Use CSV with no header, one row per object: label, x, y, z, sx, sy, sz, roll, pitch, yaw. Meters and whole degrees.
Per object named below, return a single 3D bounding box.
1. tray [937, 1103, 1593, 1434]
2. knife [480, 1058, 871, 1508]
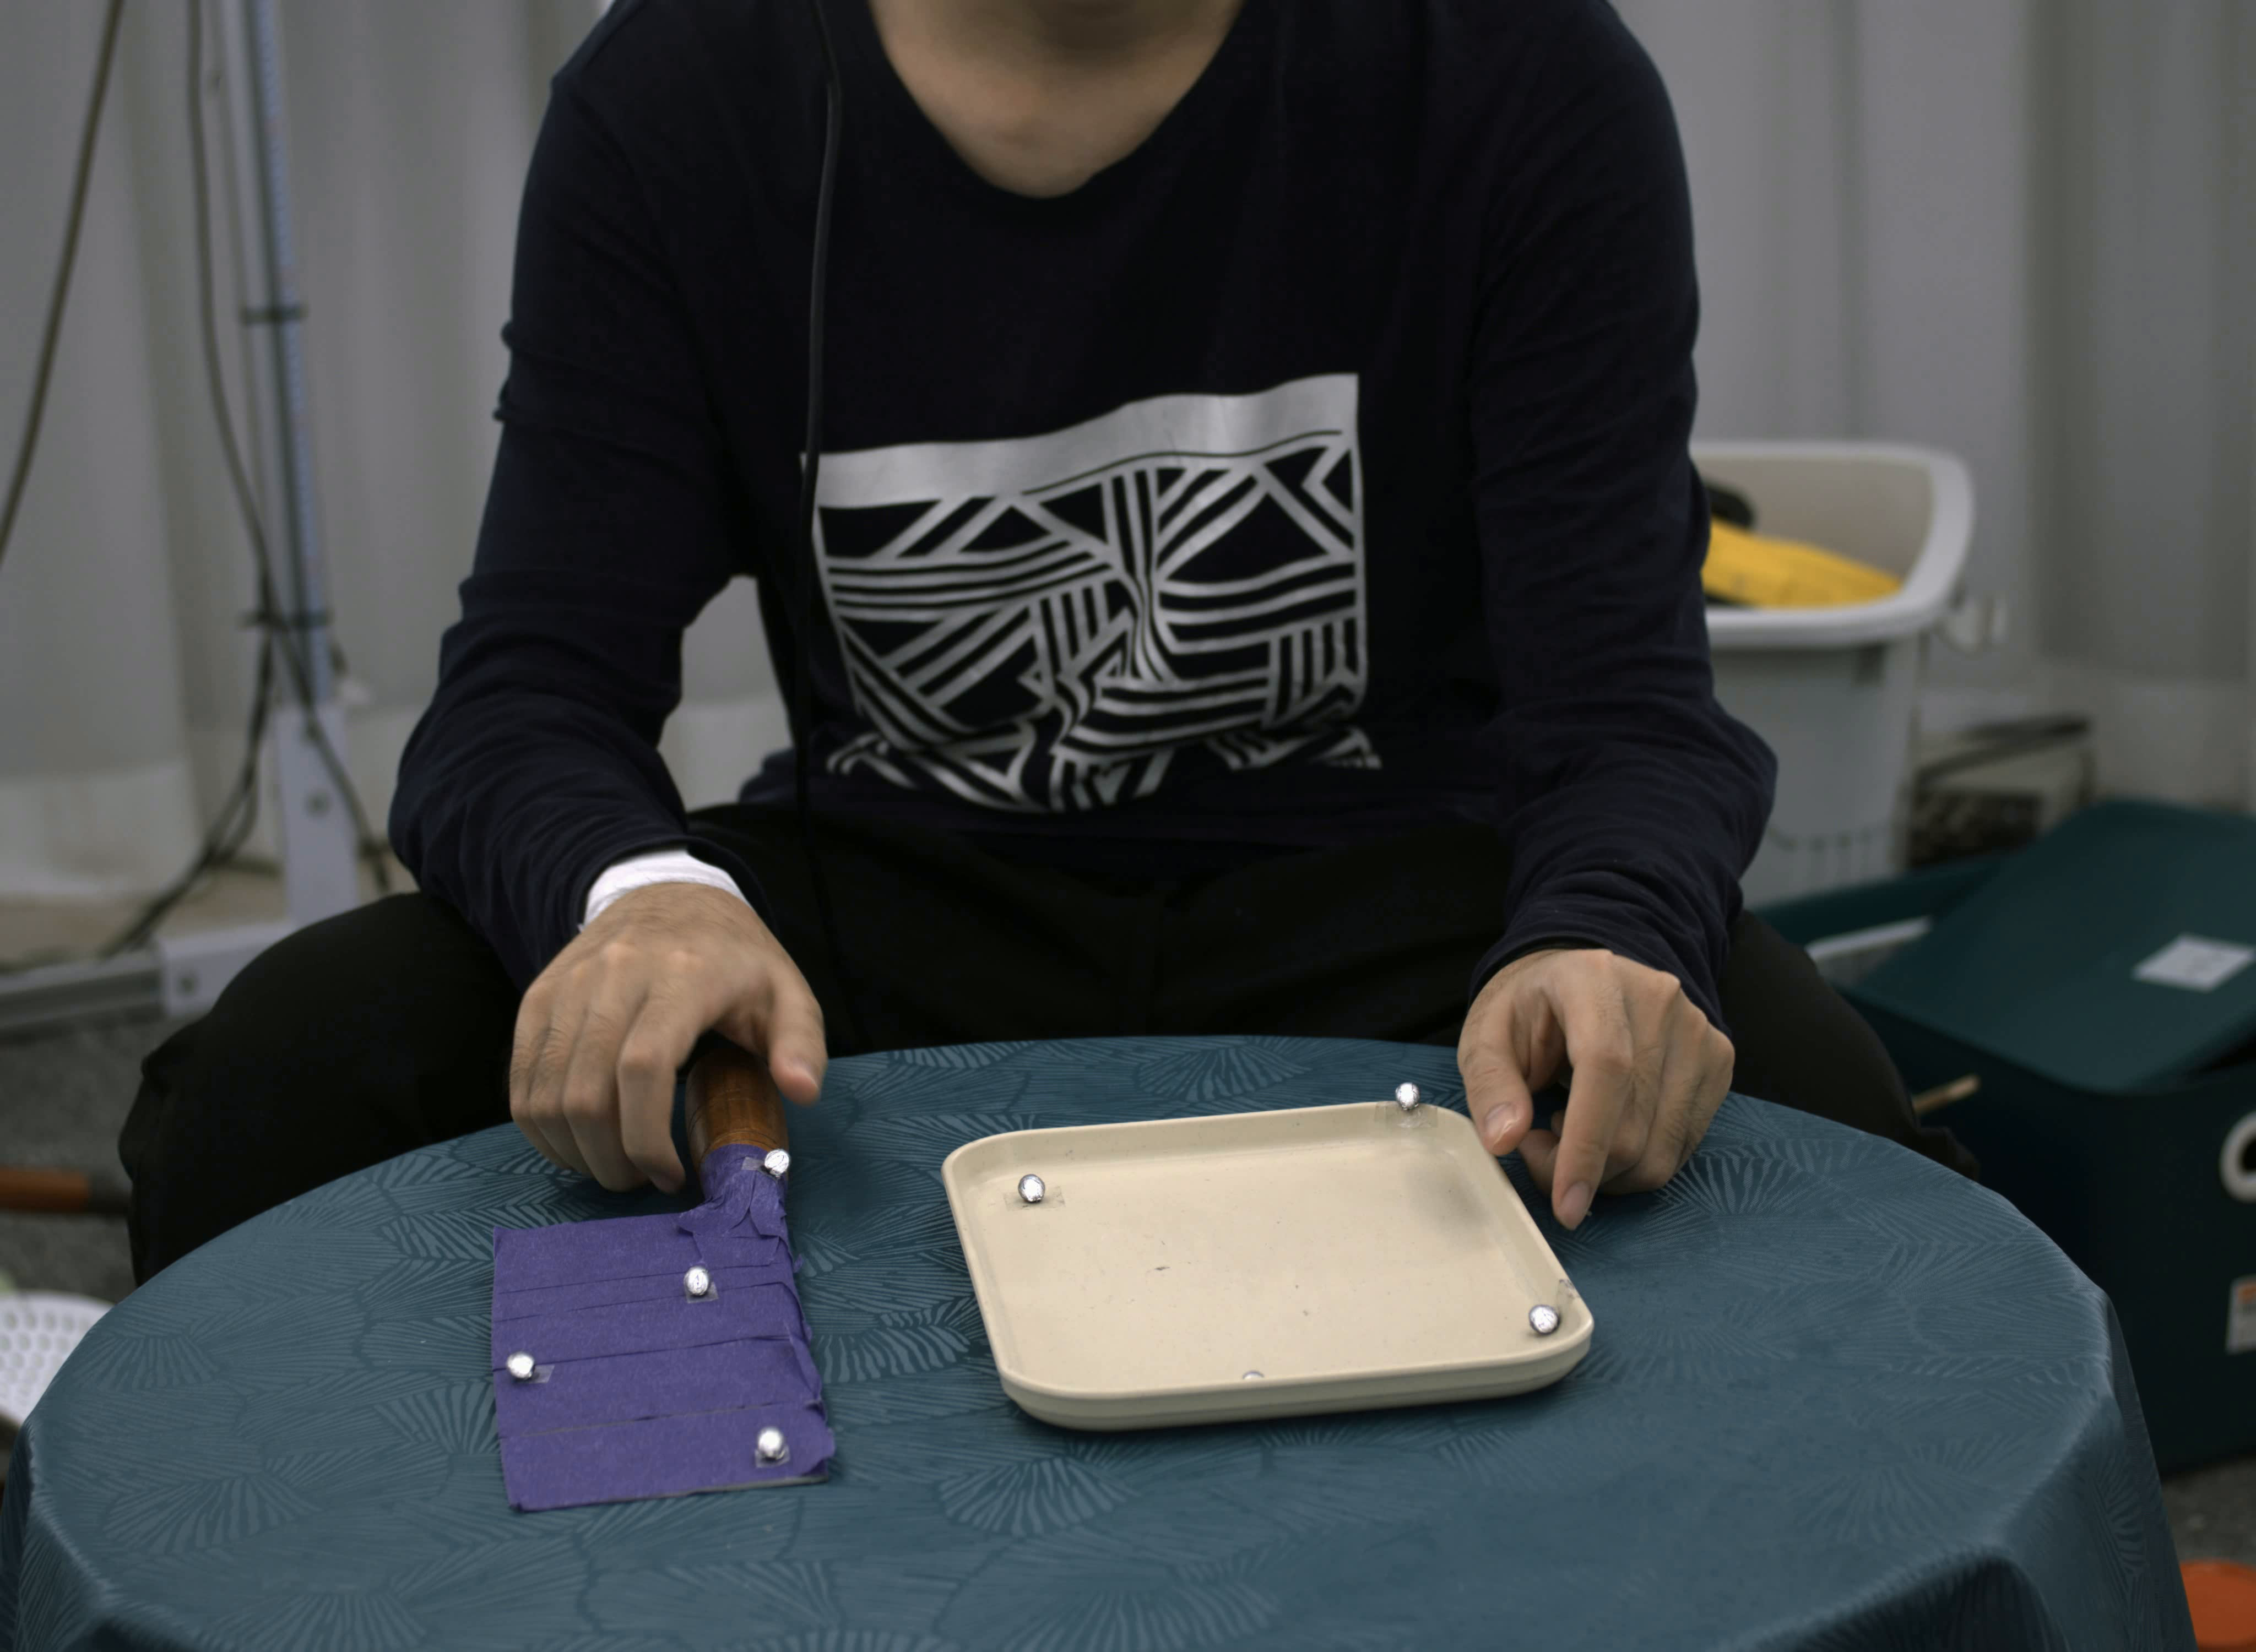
tray,0.036,0.130,1.620,0.170,0.017,0.241,-5,15,-6
knife,-0.142,0.132,1.628,0.103,0.032,0.318,-4,15,-7
